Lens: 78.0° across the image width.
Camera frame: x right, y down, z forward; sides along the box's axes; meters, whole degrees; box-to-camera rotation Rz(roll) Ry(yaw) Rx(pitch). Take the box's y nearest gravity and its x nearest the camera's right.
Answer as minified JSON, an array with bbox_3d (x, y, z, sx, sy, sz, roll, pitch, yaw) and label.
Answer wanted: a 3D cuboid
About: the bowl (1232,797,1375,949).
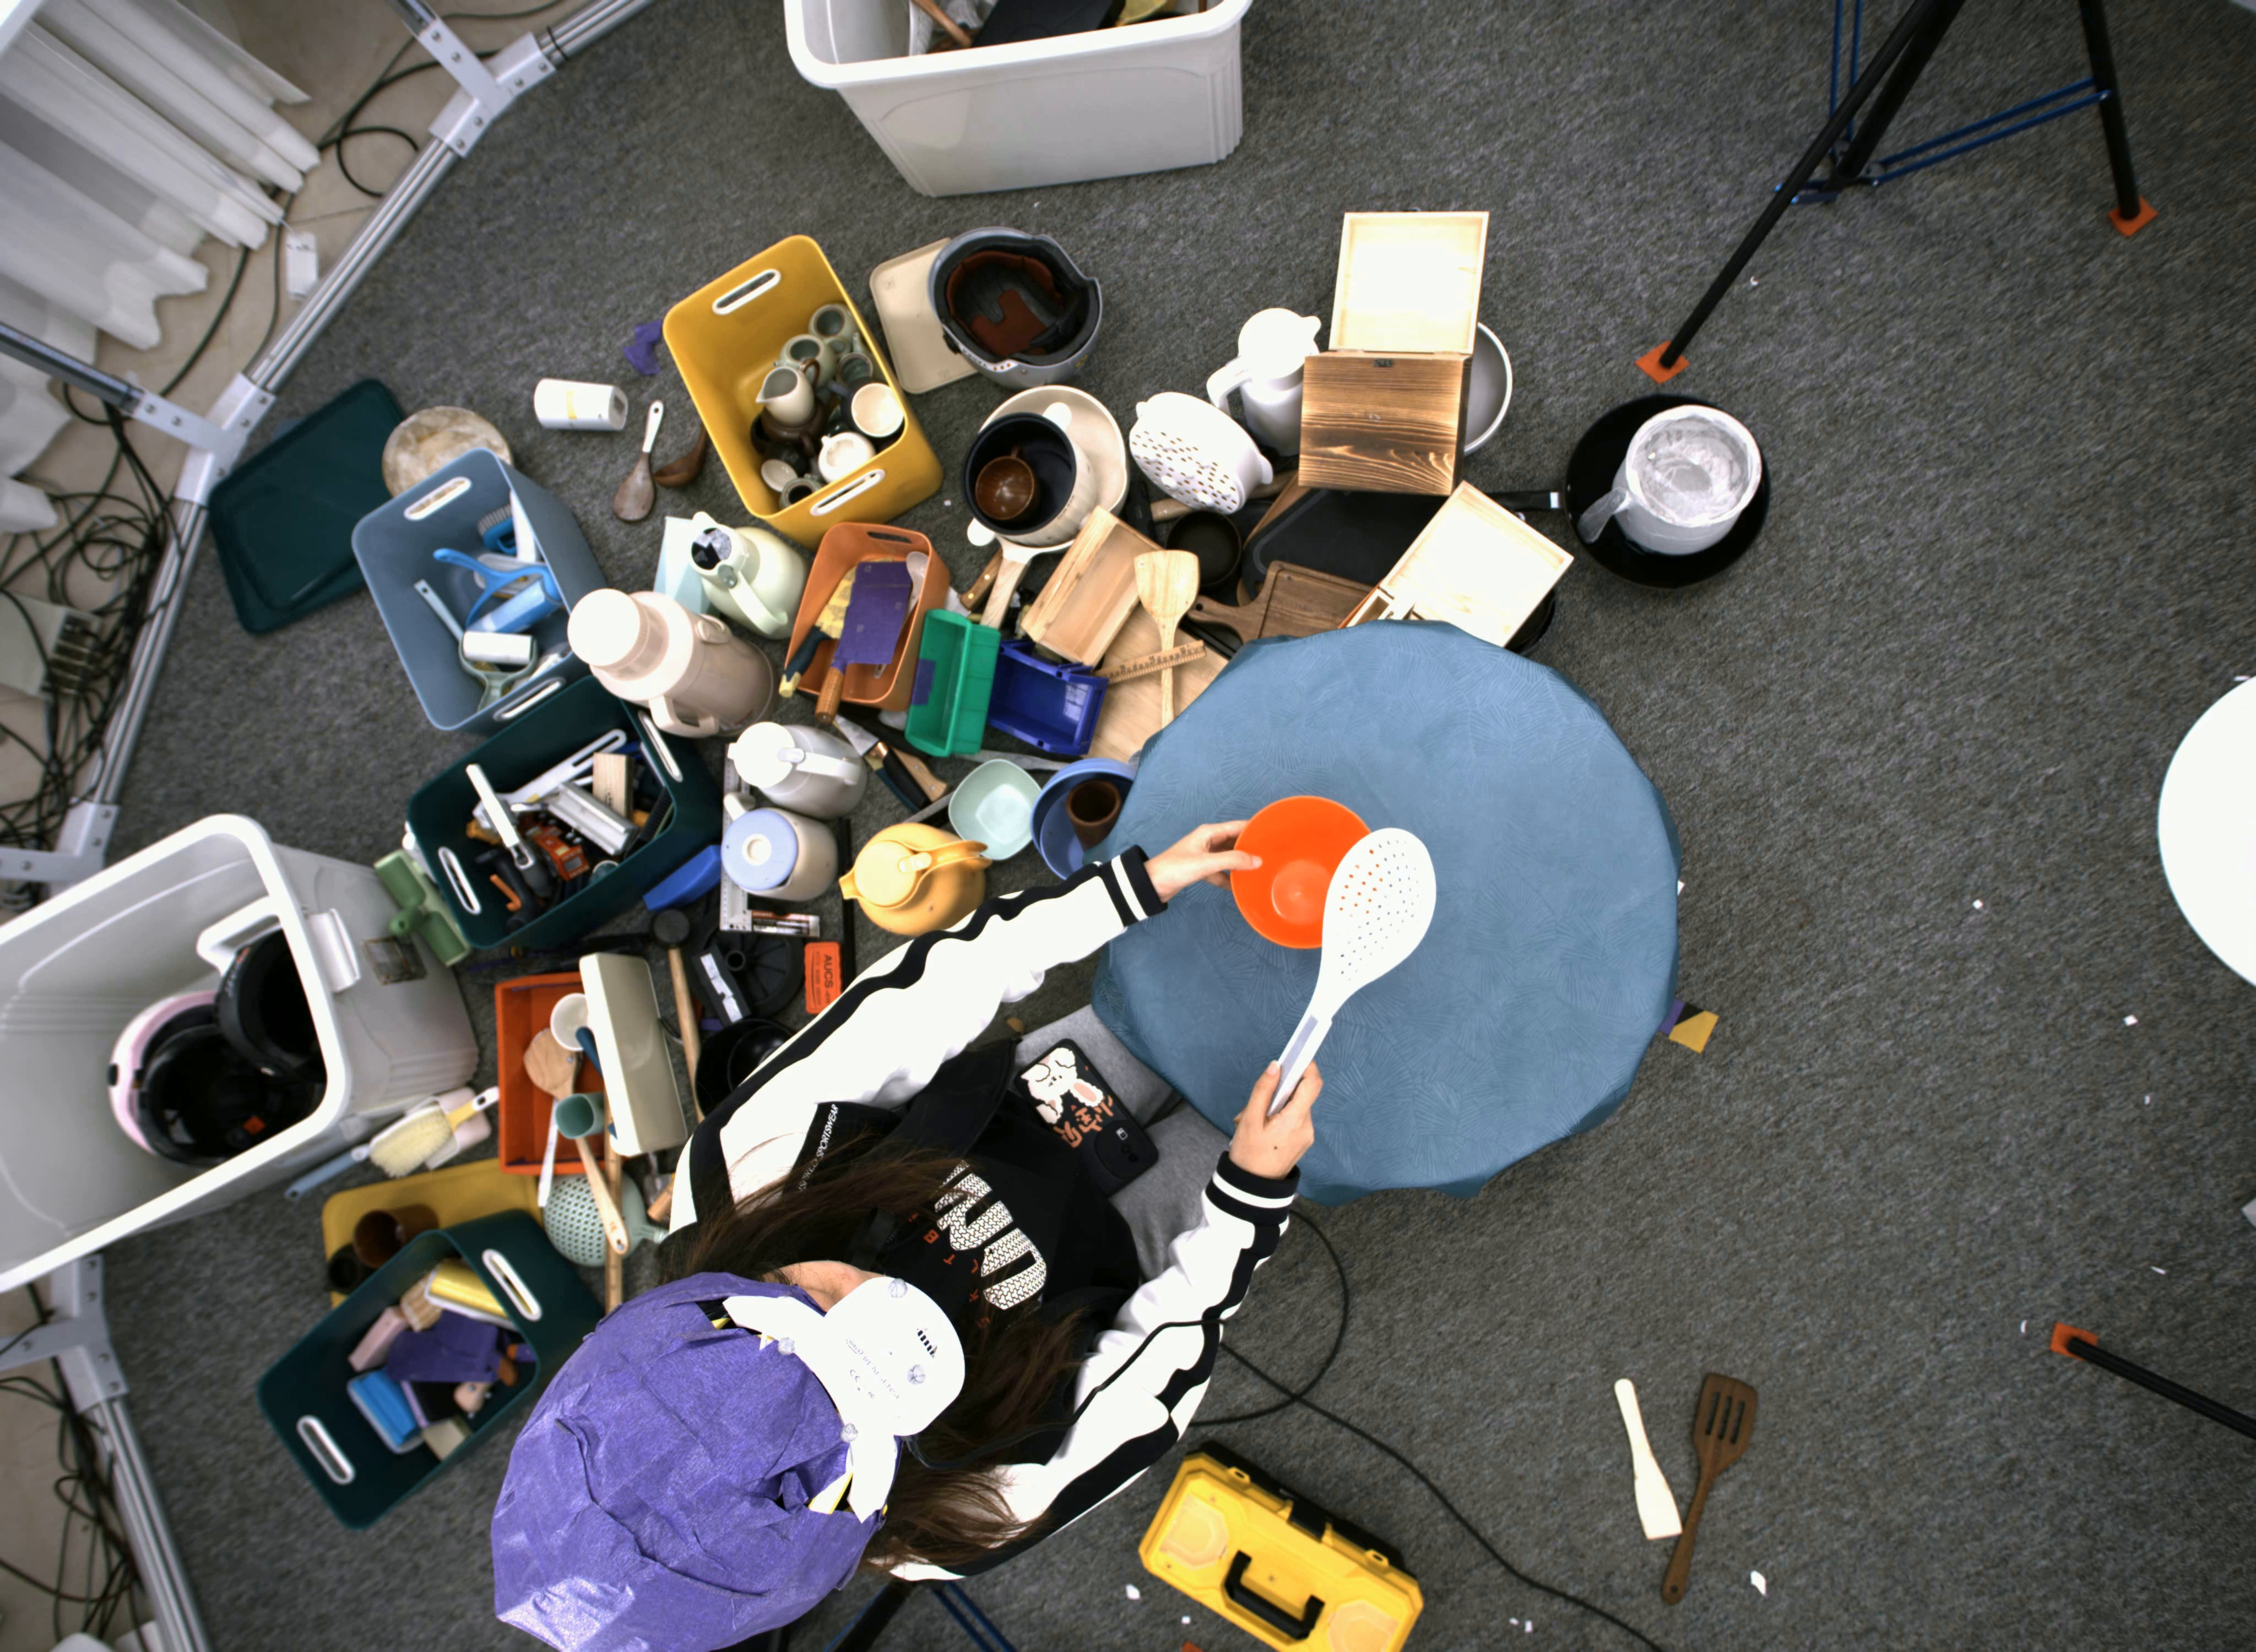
[{"bbox_3d":[0.178,0.051,1.382,0.148,0.105,0.147,-1,84,6],"label":"bowl"}]

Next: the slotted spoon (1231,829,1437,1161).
[{"bbox_3d":[0.185,0.163,1.284,0.046,0.134,0.354,22,106,-33],"label":"slotted spoon"}]
